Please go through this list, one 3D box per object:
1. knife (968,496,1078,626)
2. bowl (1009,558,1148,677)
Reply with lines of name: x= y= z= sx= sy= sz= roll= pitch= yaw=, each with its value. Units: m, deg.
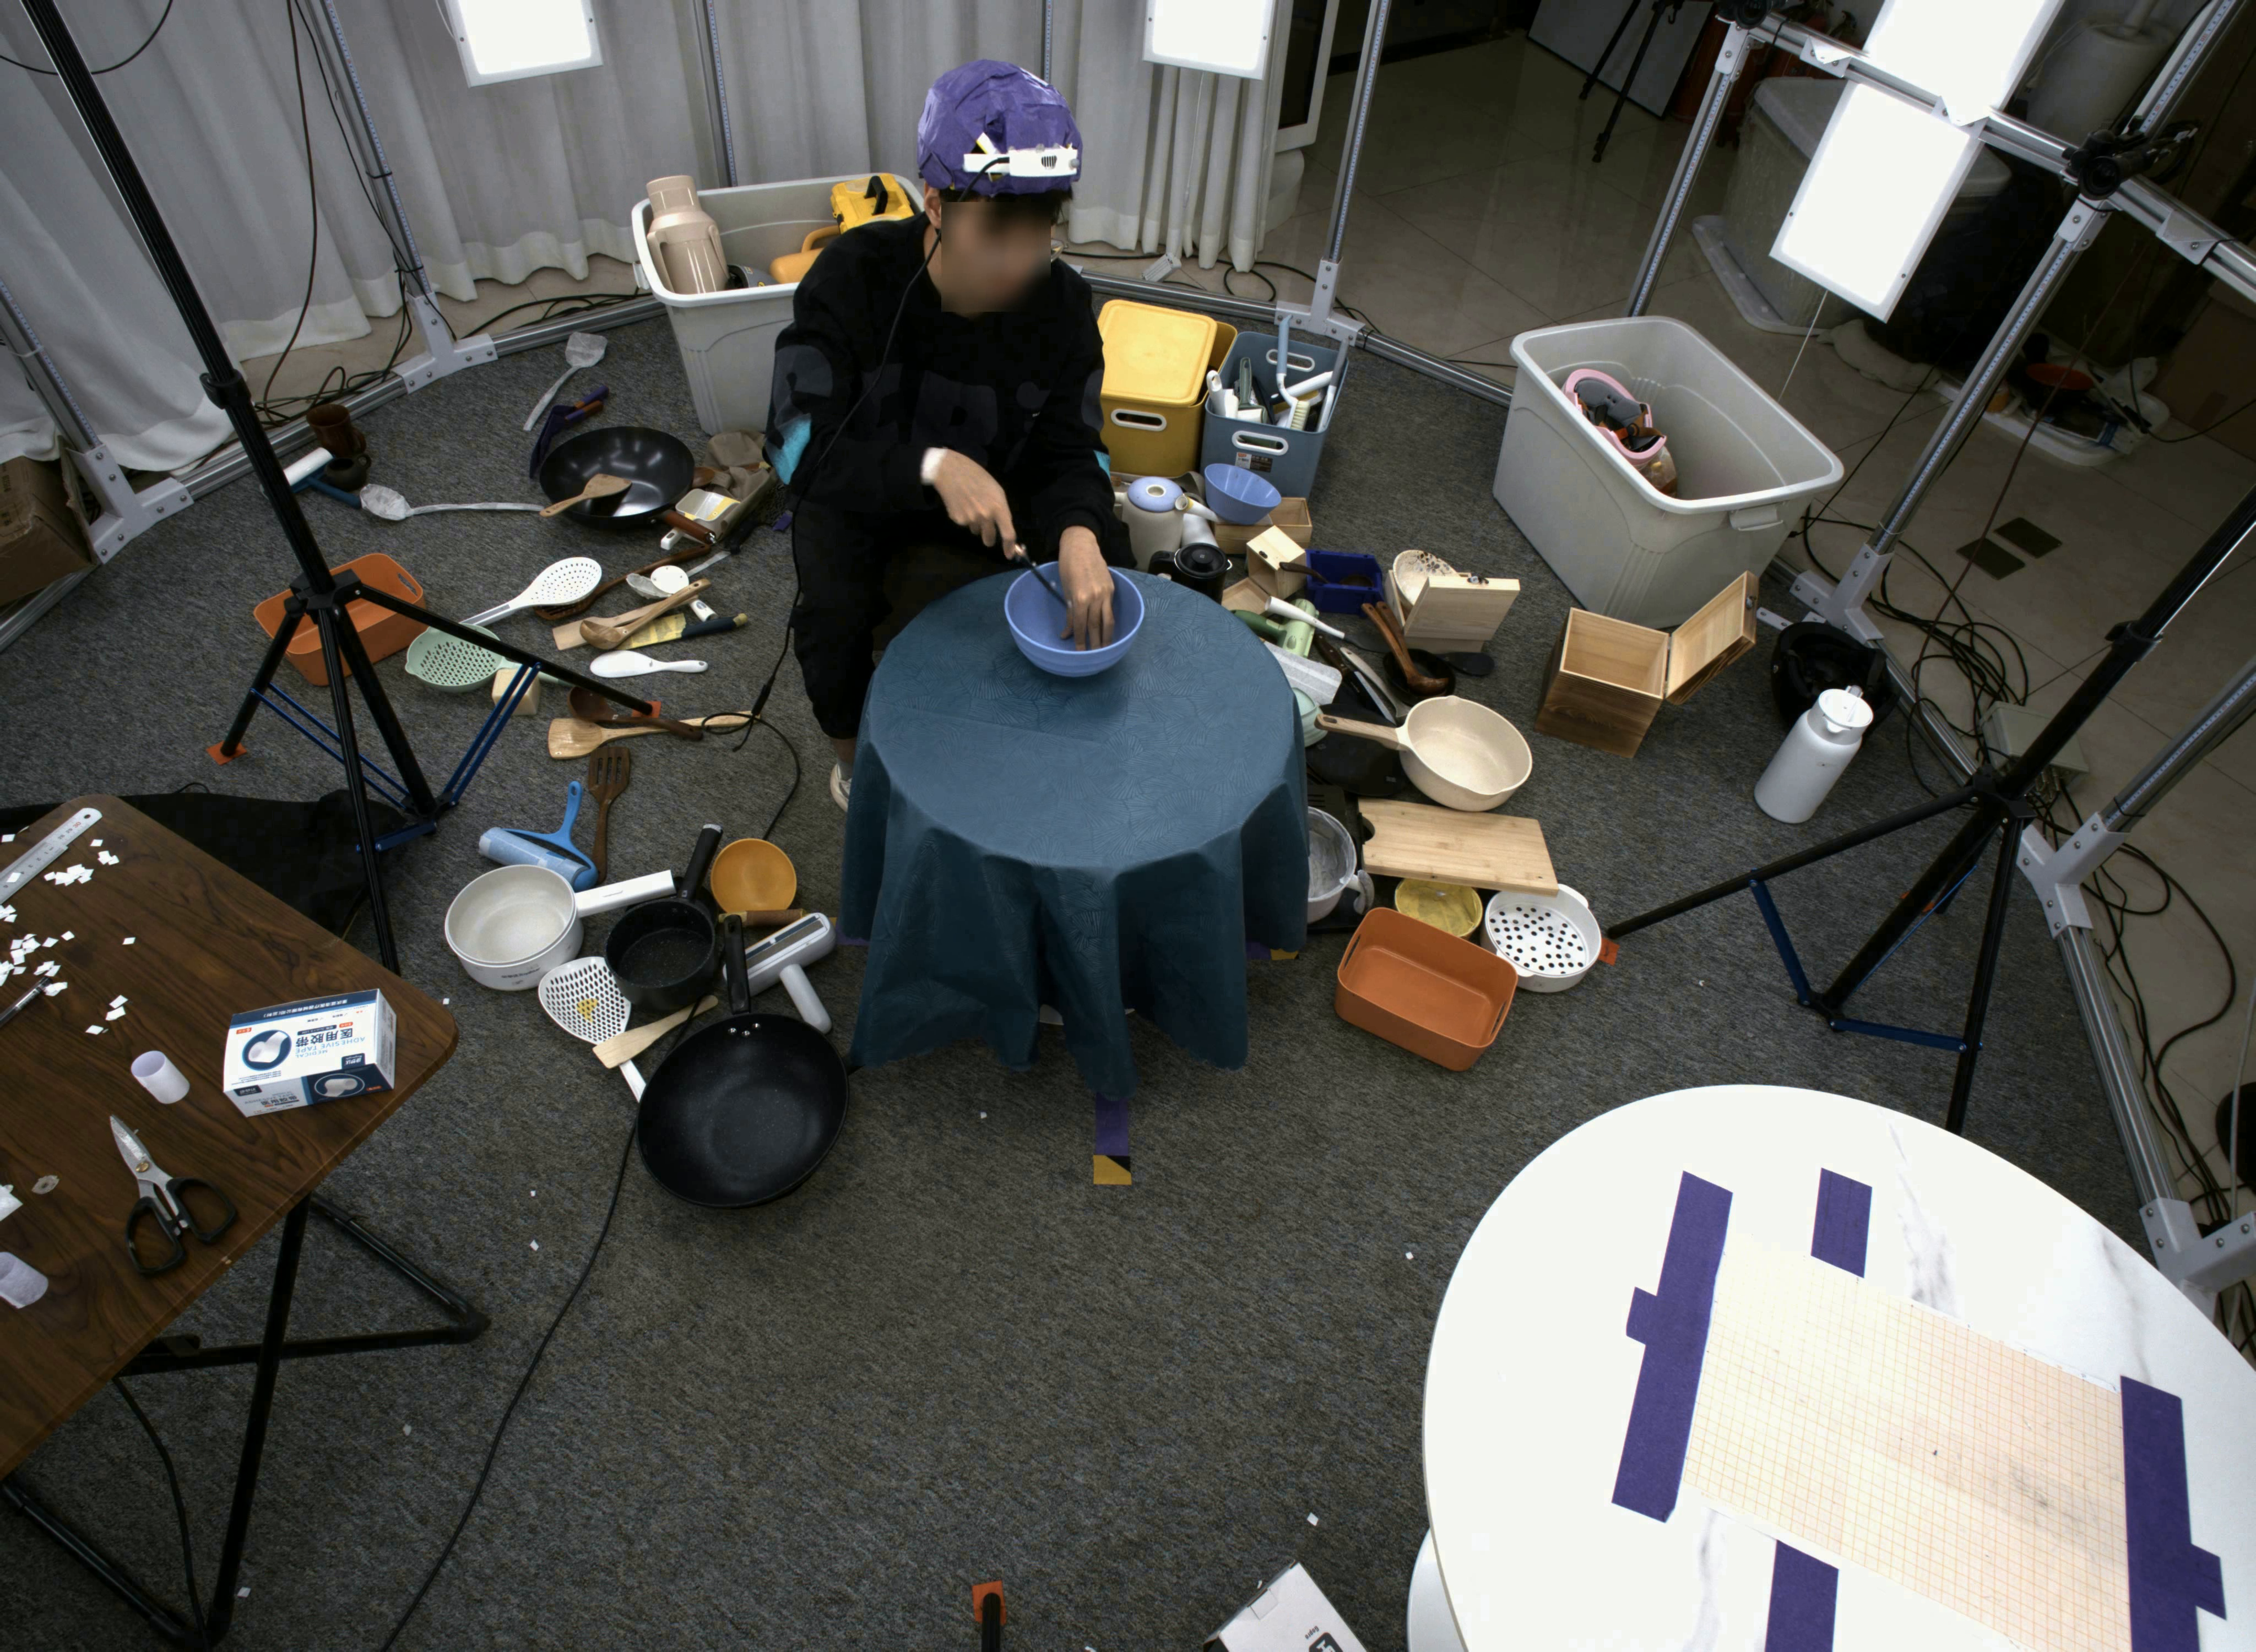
knife: x=-0.141 y=-0.365 z=1.781 sx=0.224 sy=0.026 sz=0.017 roll=48 pitch=67 yaw=-9
bowl: x=-0.073 y=-0.284 z=1.846 sx=0.196 sy=0.093 sz=0.201 roll=3 pitch=51 yaw=-4
